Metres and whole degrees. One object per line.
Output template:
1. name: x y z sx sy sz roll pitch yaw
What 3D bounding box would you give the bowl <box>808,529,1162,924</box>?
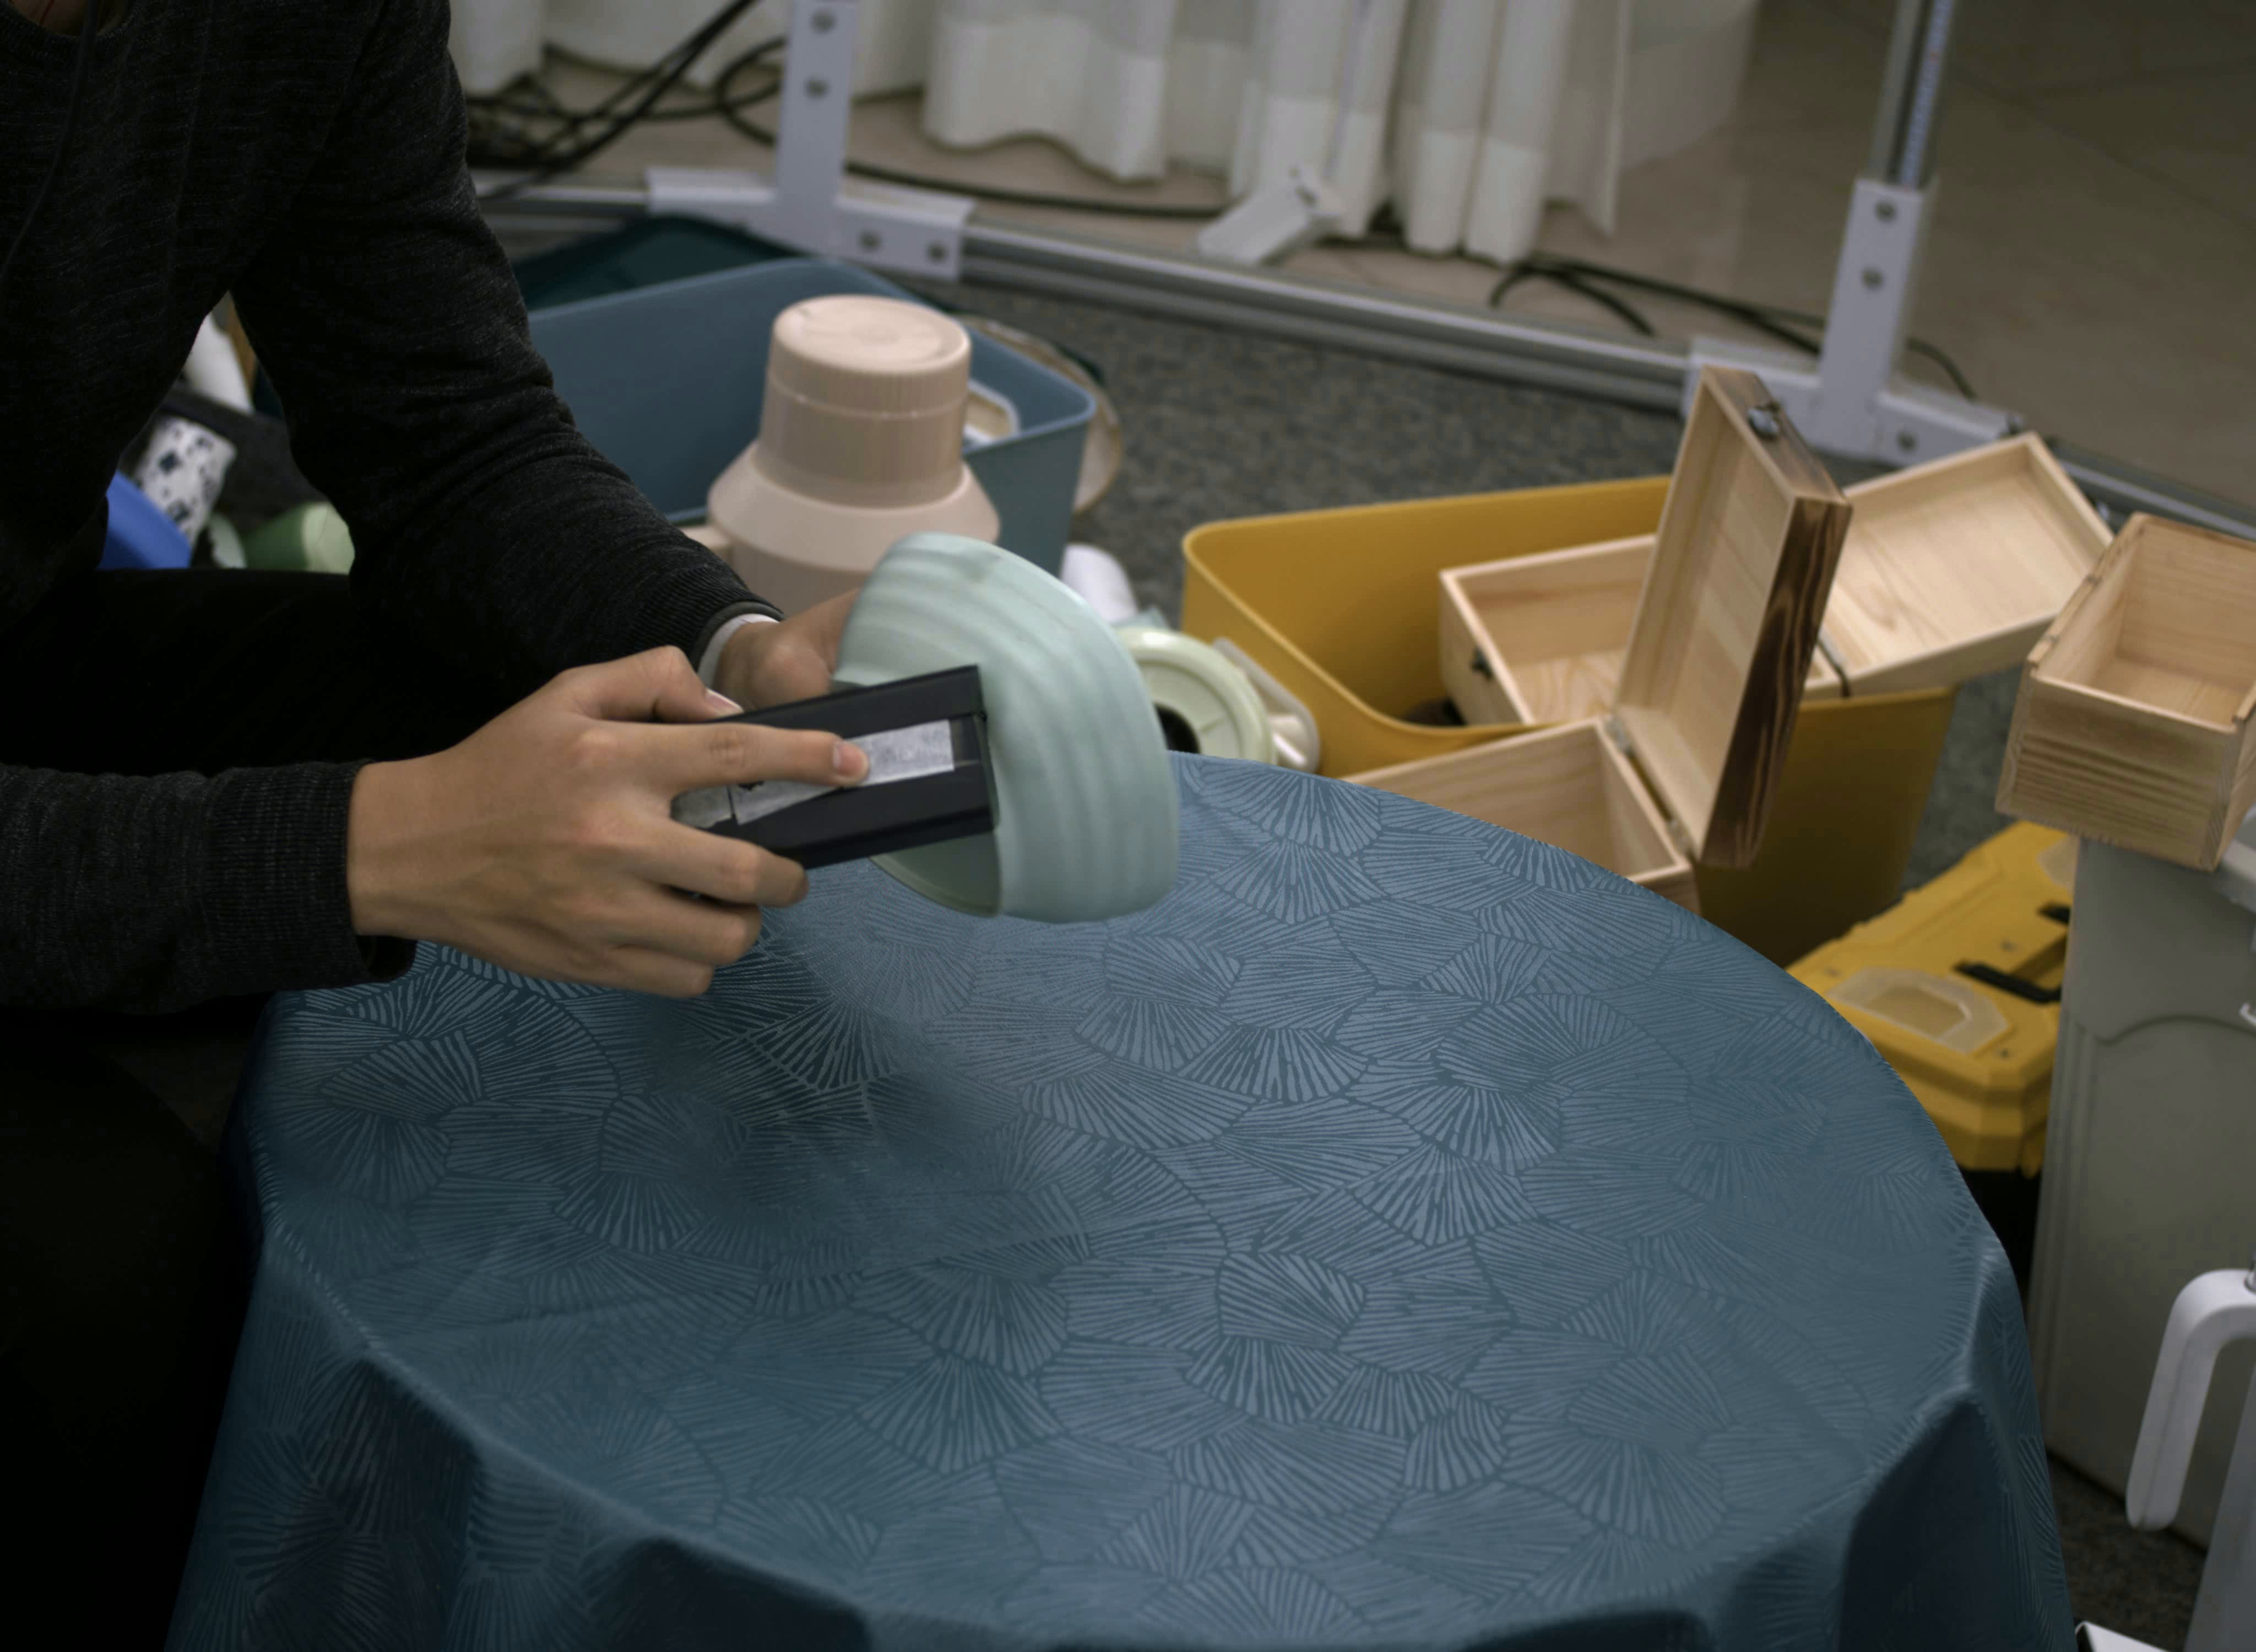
1. bowl: -0.057 -0.023 1.785 0.058 0.150 0.152 -33 44 -30

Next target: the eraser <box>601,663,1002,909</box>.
1. eraser: -0.104 -0.013 1.717 0.125 0.054 0.030 -13 -15 4
